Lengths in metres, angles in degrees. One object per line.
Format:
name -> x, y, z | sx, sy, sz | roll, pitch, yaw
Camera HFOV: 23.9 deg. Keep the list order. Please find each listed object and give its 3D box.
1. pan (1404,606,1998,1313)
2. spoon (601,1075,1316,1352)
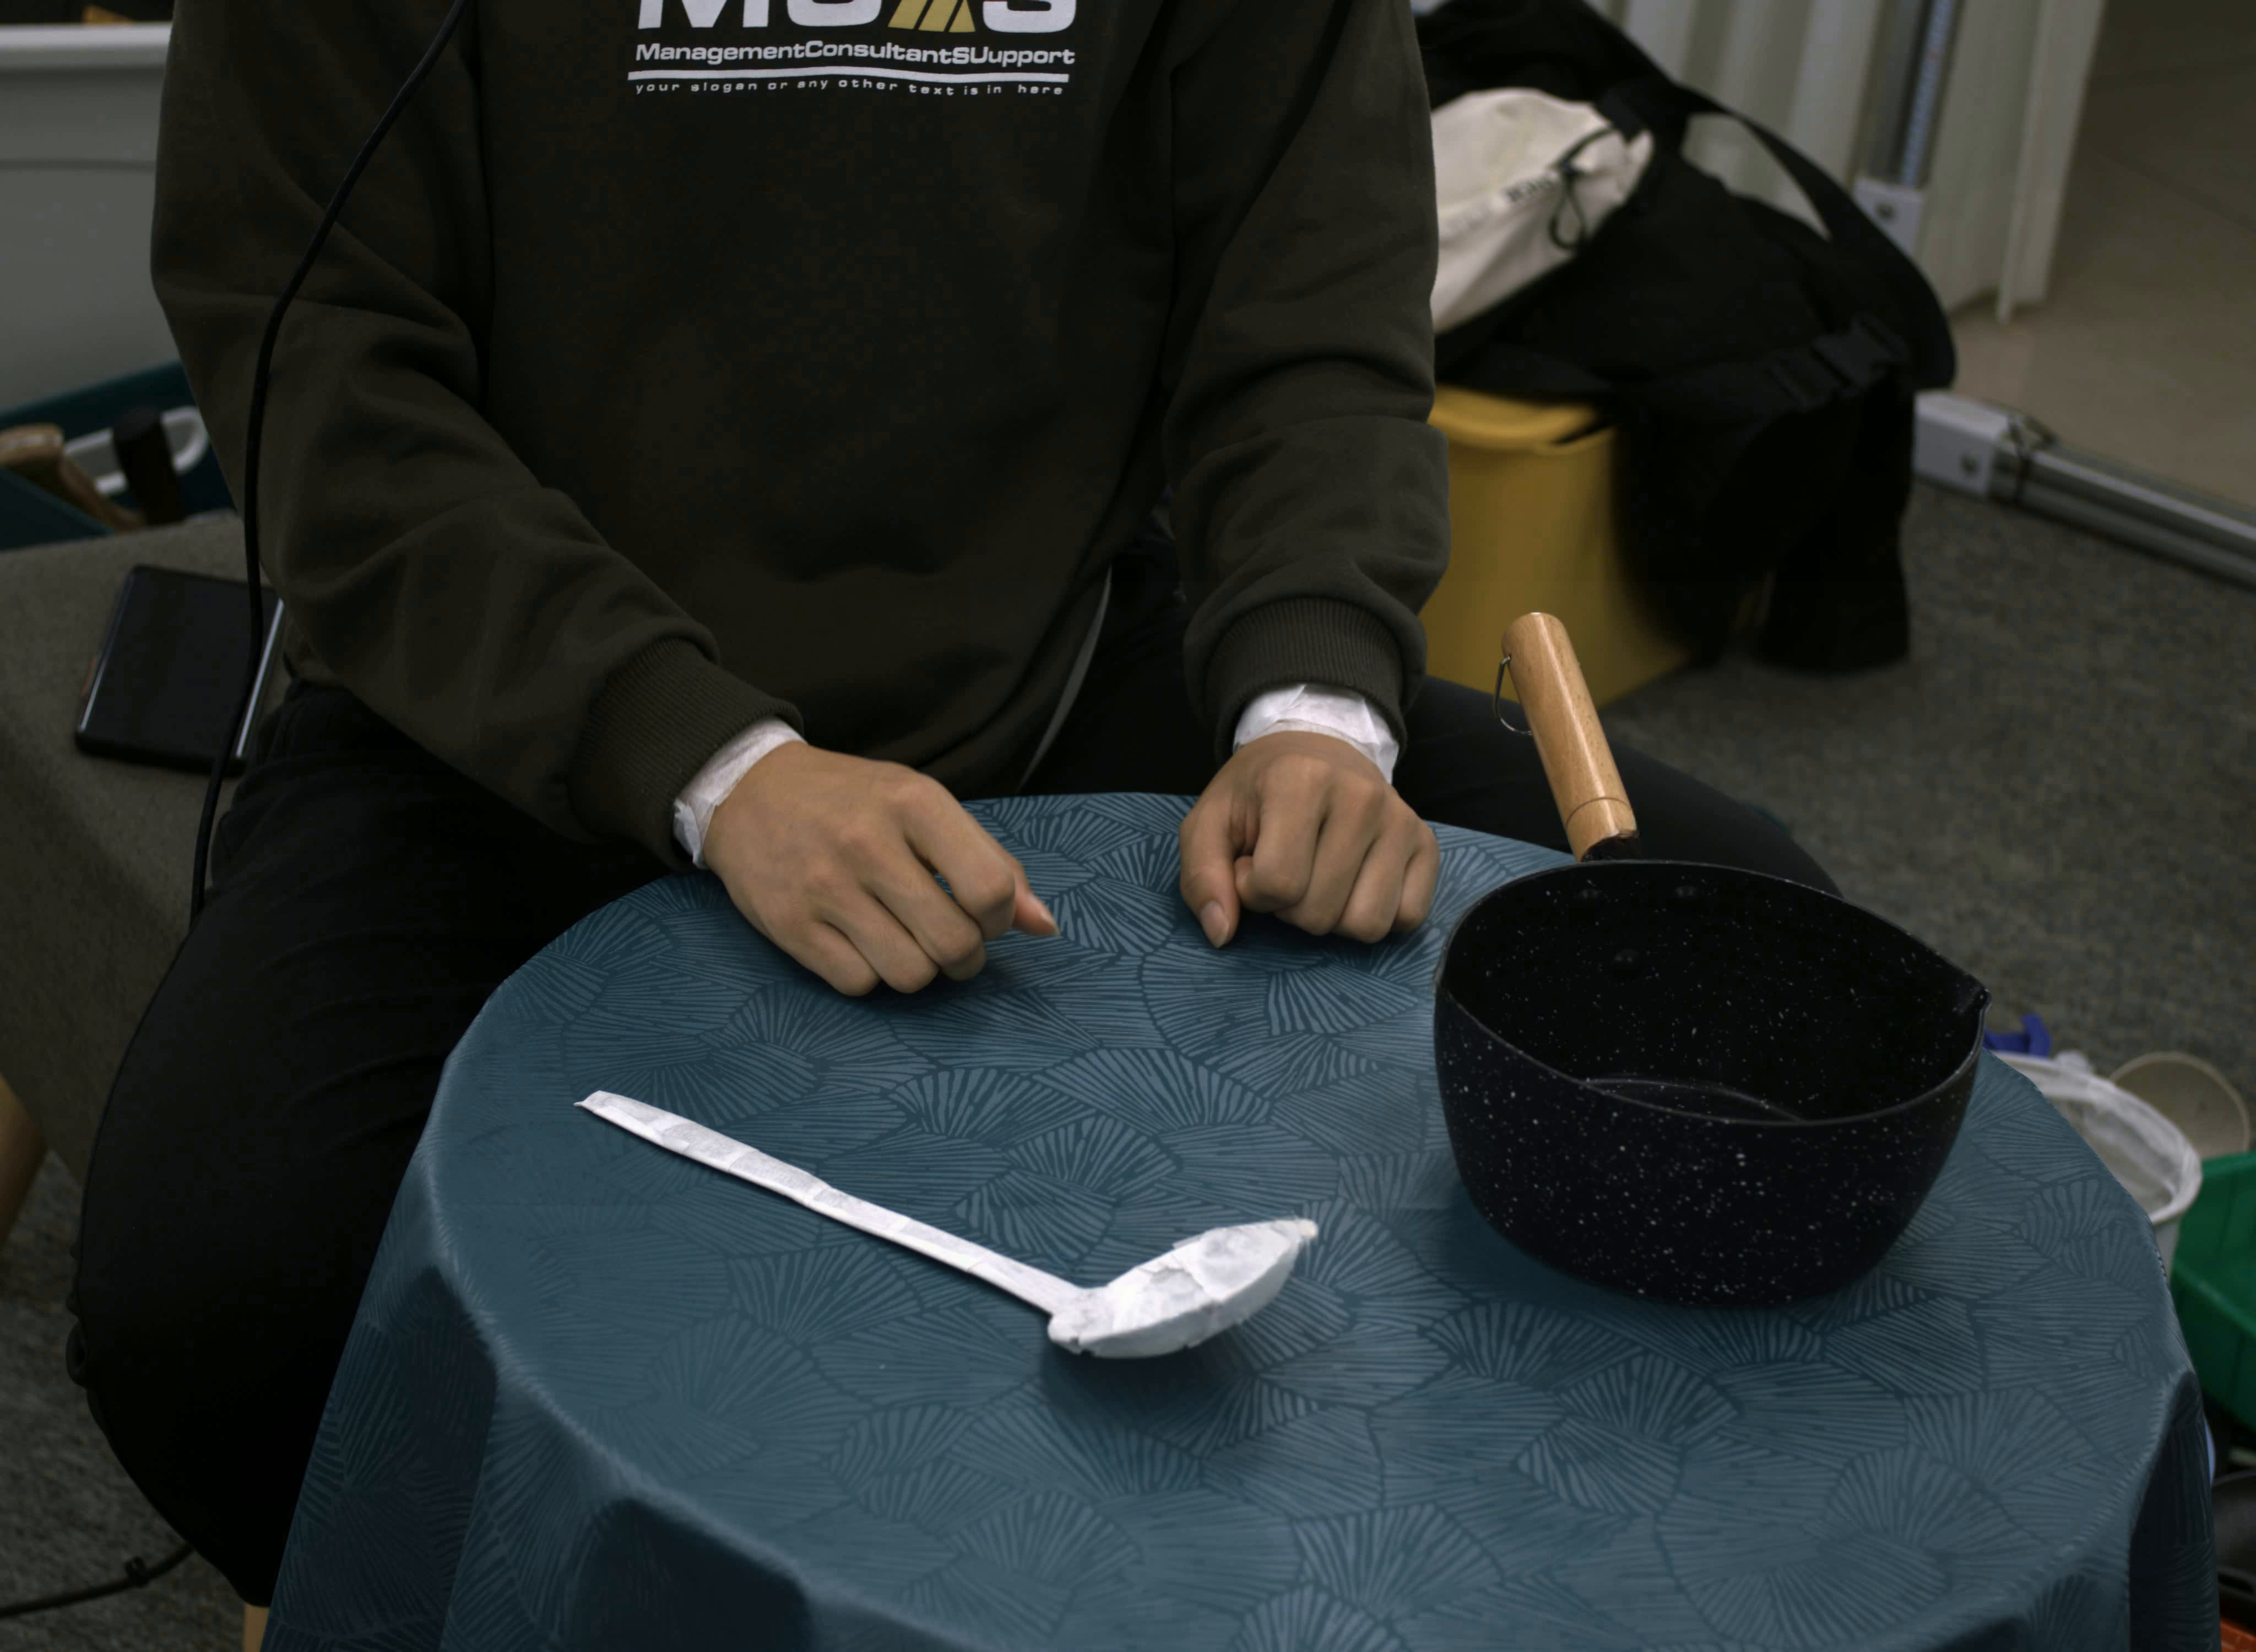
pan -> 0.178, 0.044, 1.885 | 0.206, 0.108, 0.345 | -1, 29, -12
spoon -> -0.062, 0.111, 1.755 | 0.279, 0.059, 0.100 | 23, 27, 30
